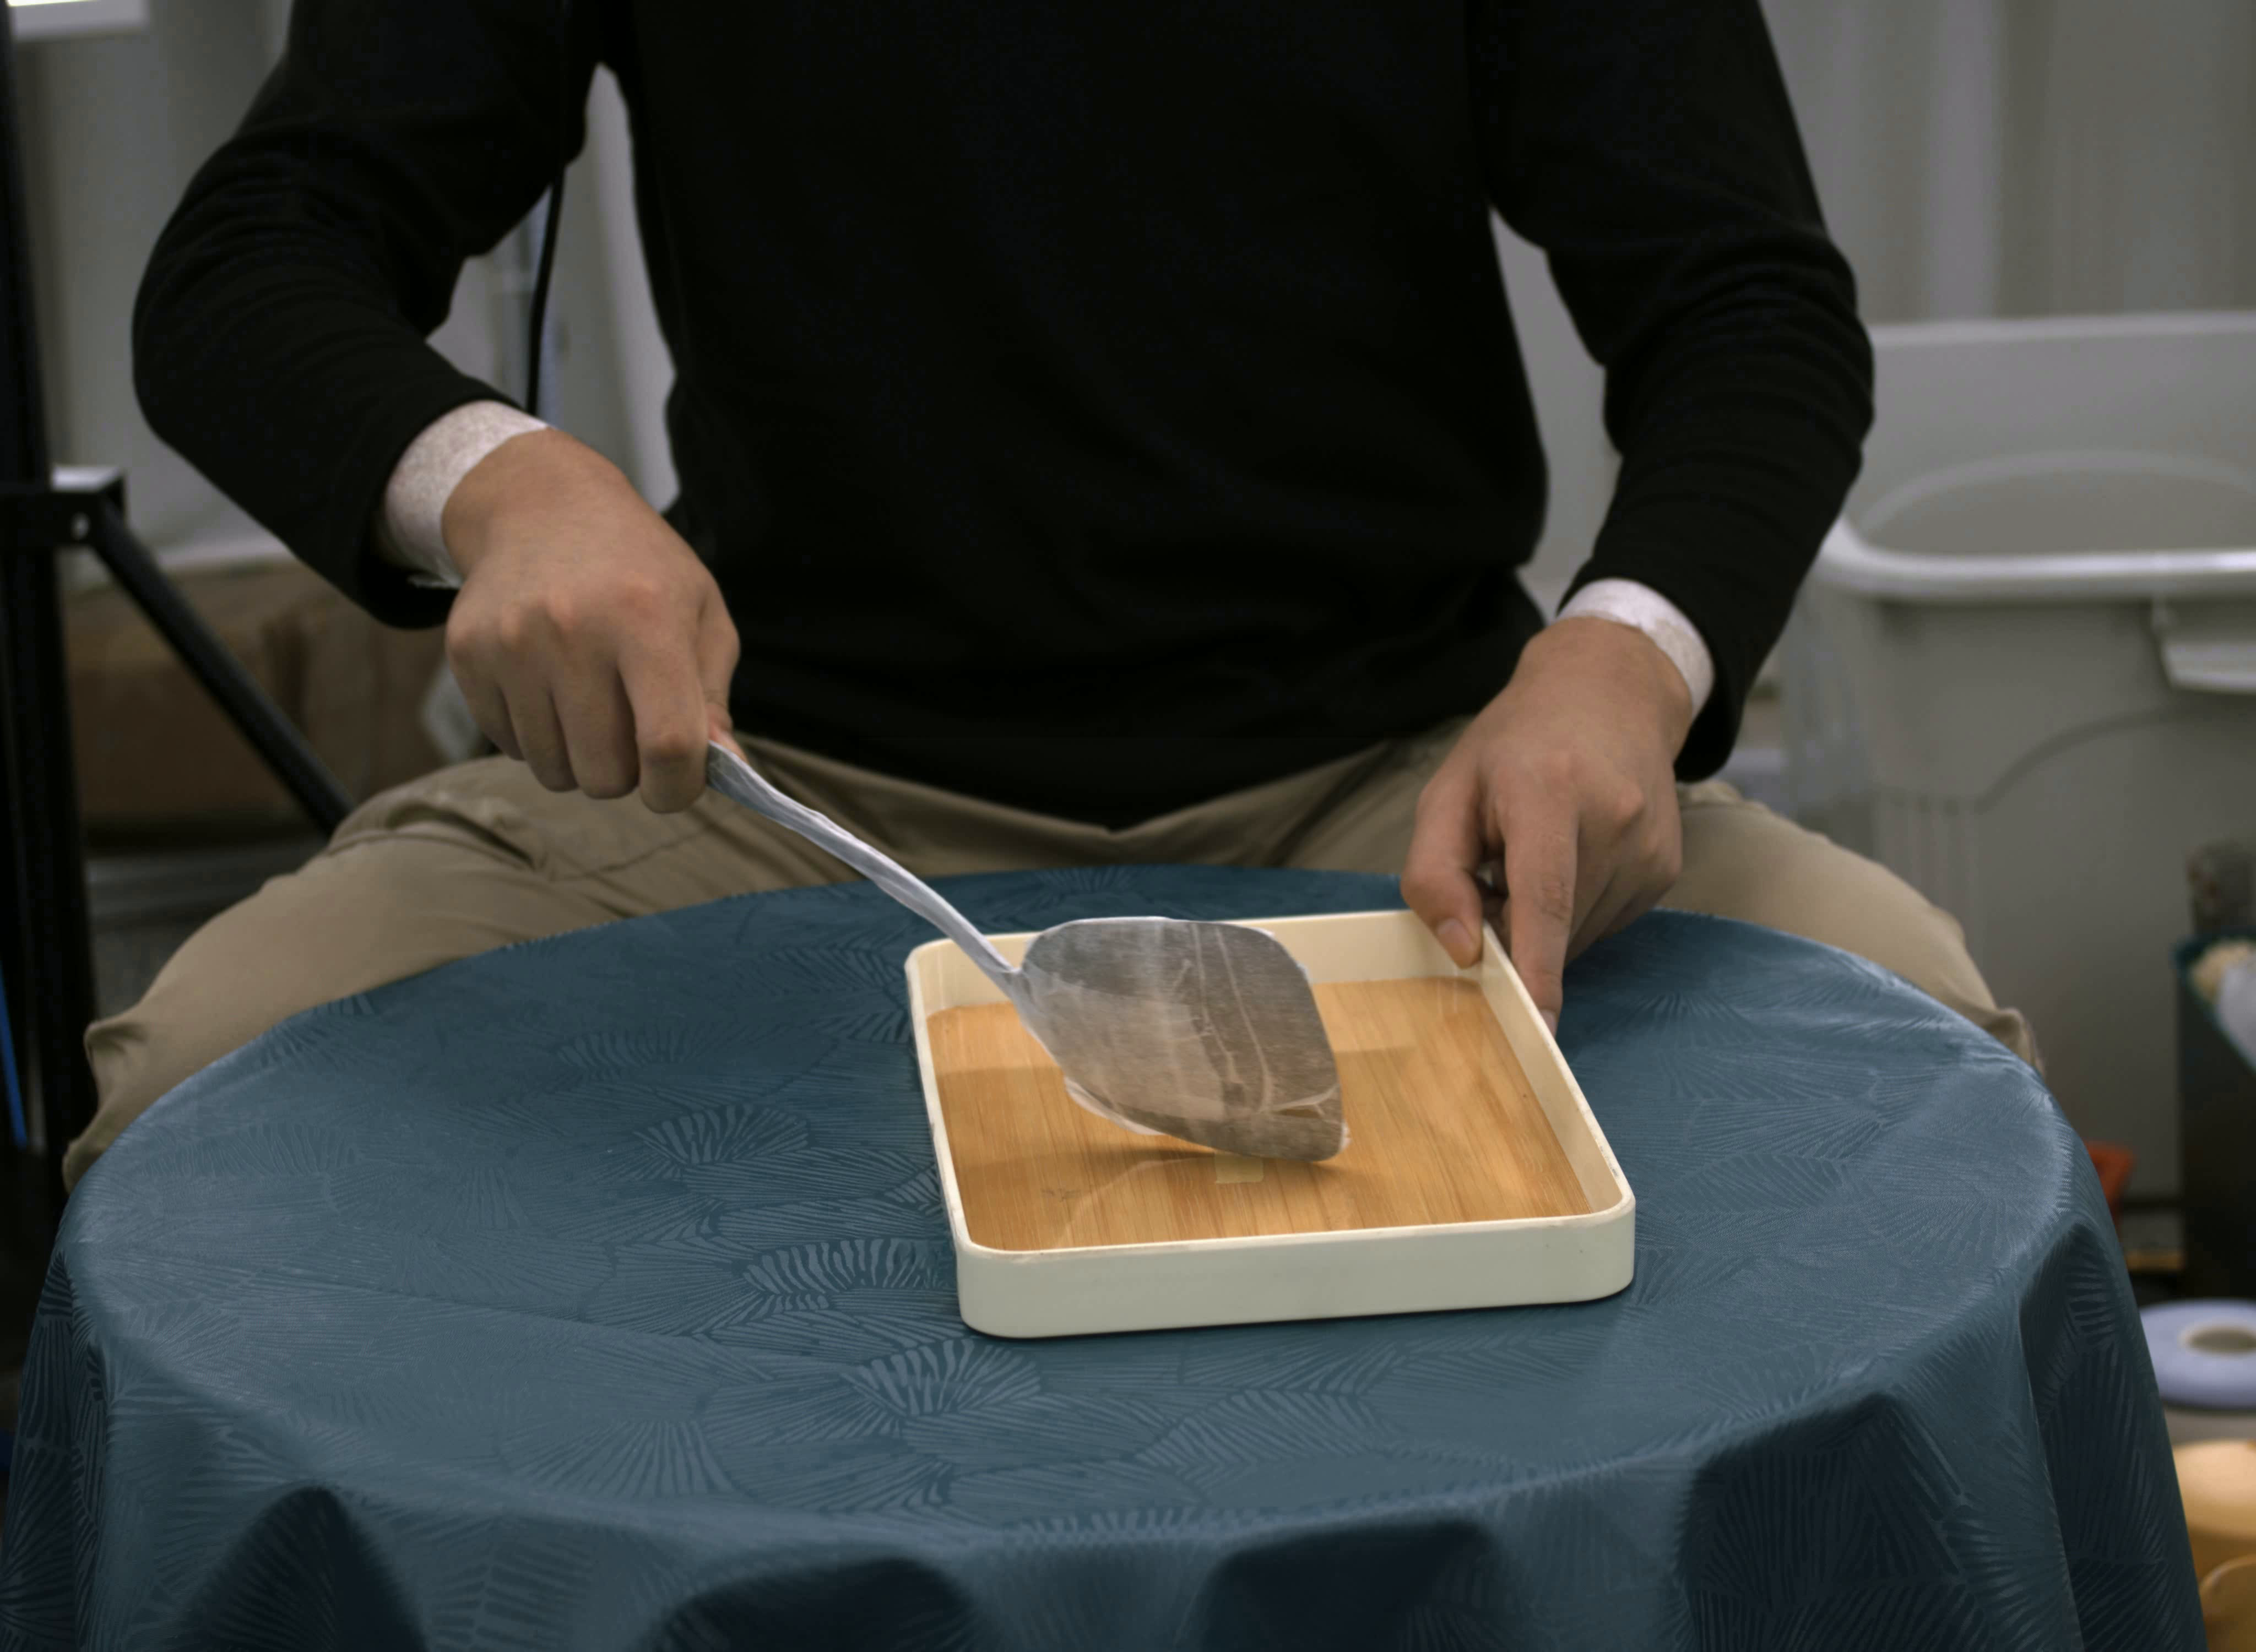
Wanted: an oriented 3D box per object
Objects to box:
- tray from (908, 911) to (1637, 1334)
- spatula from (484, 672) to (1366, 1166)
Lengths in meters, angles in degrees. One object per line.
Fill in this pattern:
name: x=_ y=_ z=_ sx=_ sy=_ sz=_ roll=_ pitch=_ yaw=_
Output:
tray: x=0.036 y=0.084 z=1.586 sx=0.190 sy=0.027 sz=0.302 roll=-4 pitch=16 yaw=-3
spatula: x=-0.073 y=0.012 z=1.624 sx=0.044 sy=0.097 sz=0.373 roll=-38 pitch=45 yaw=-24
